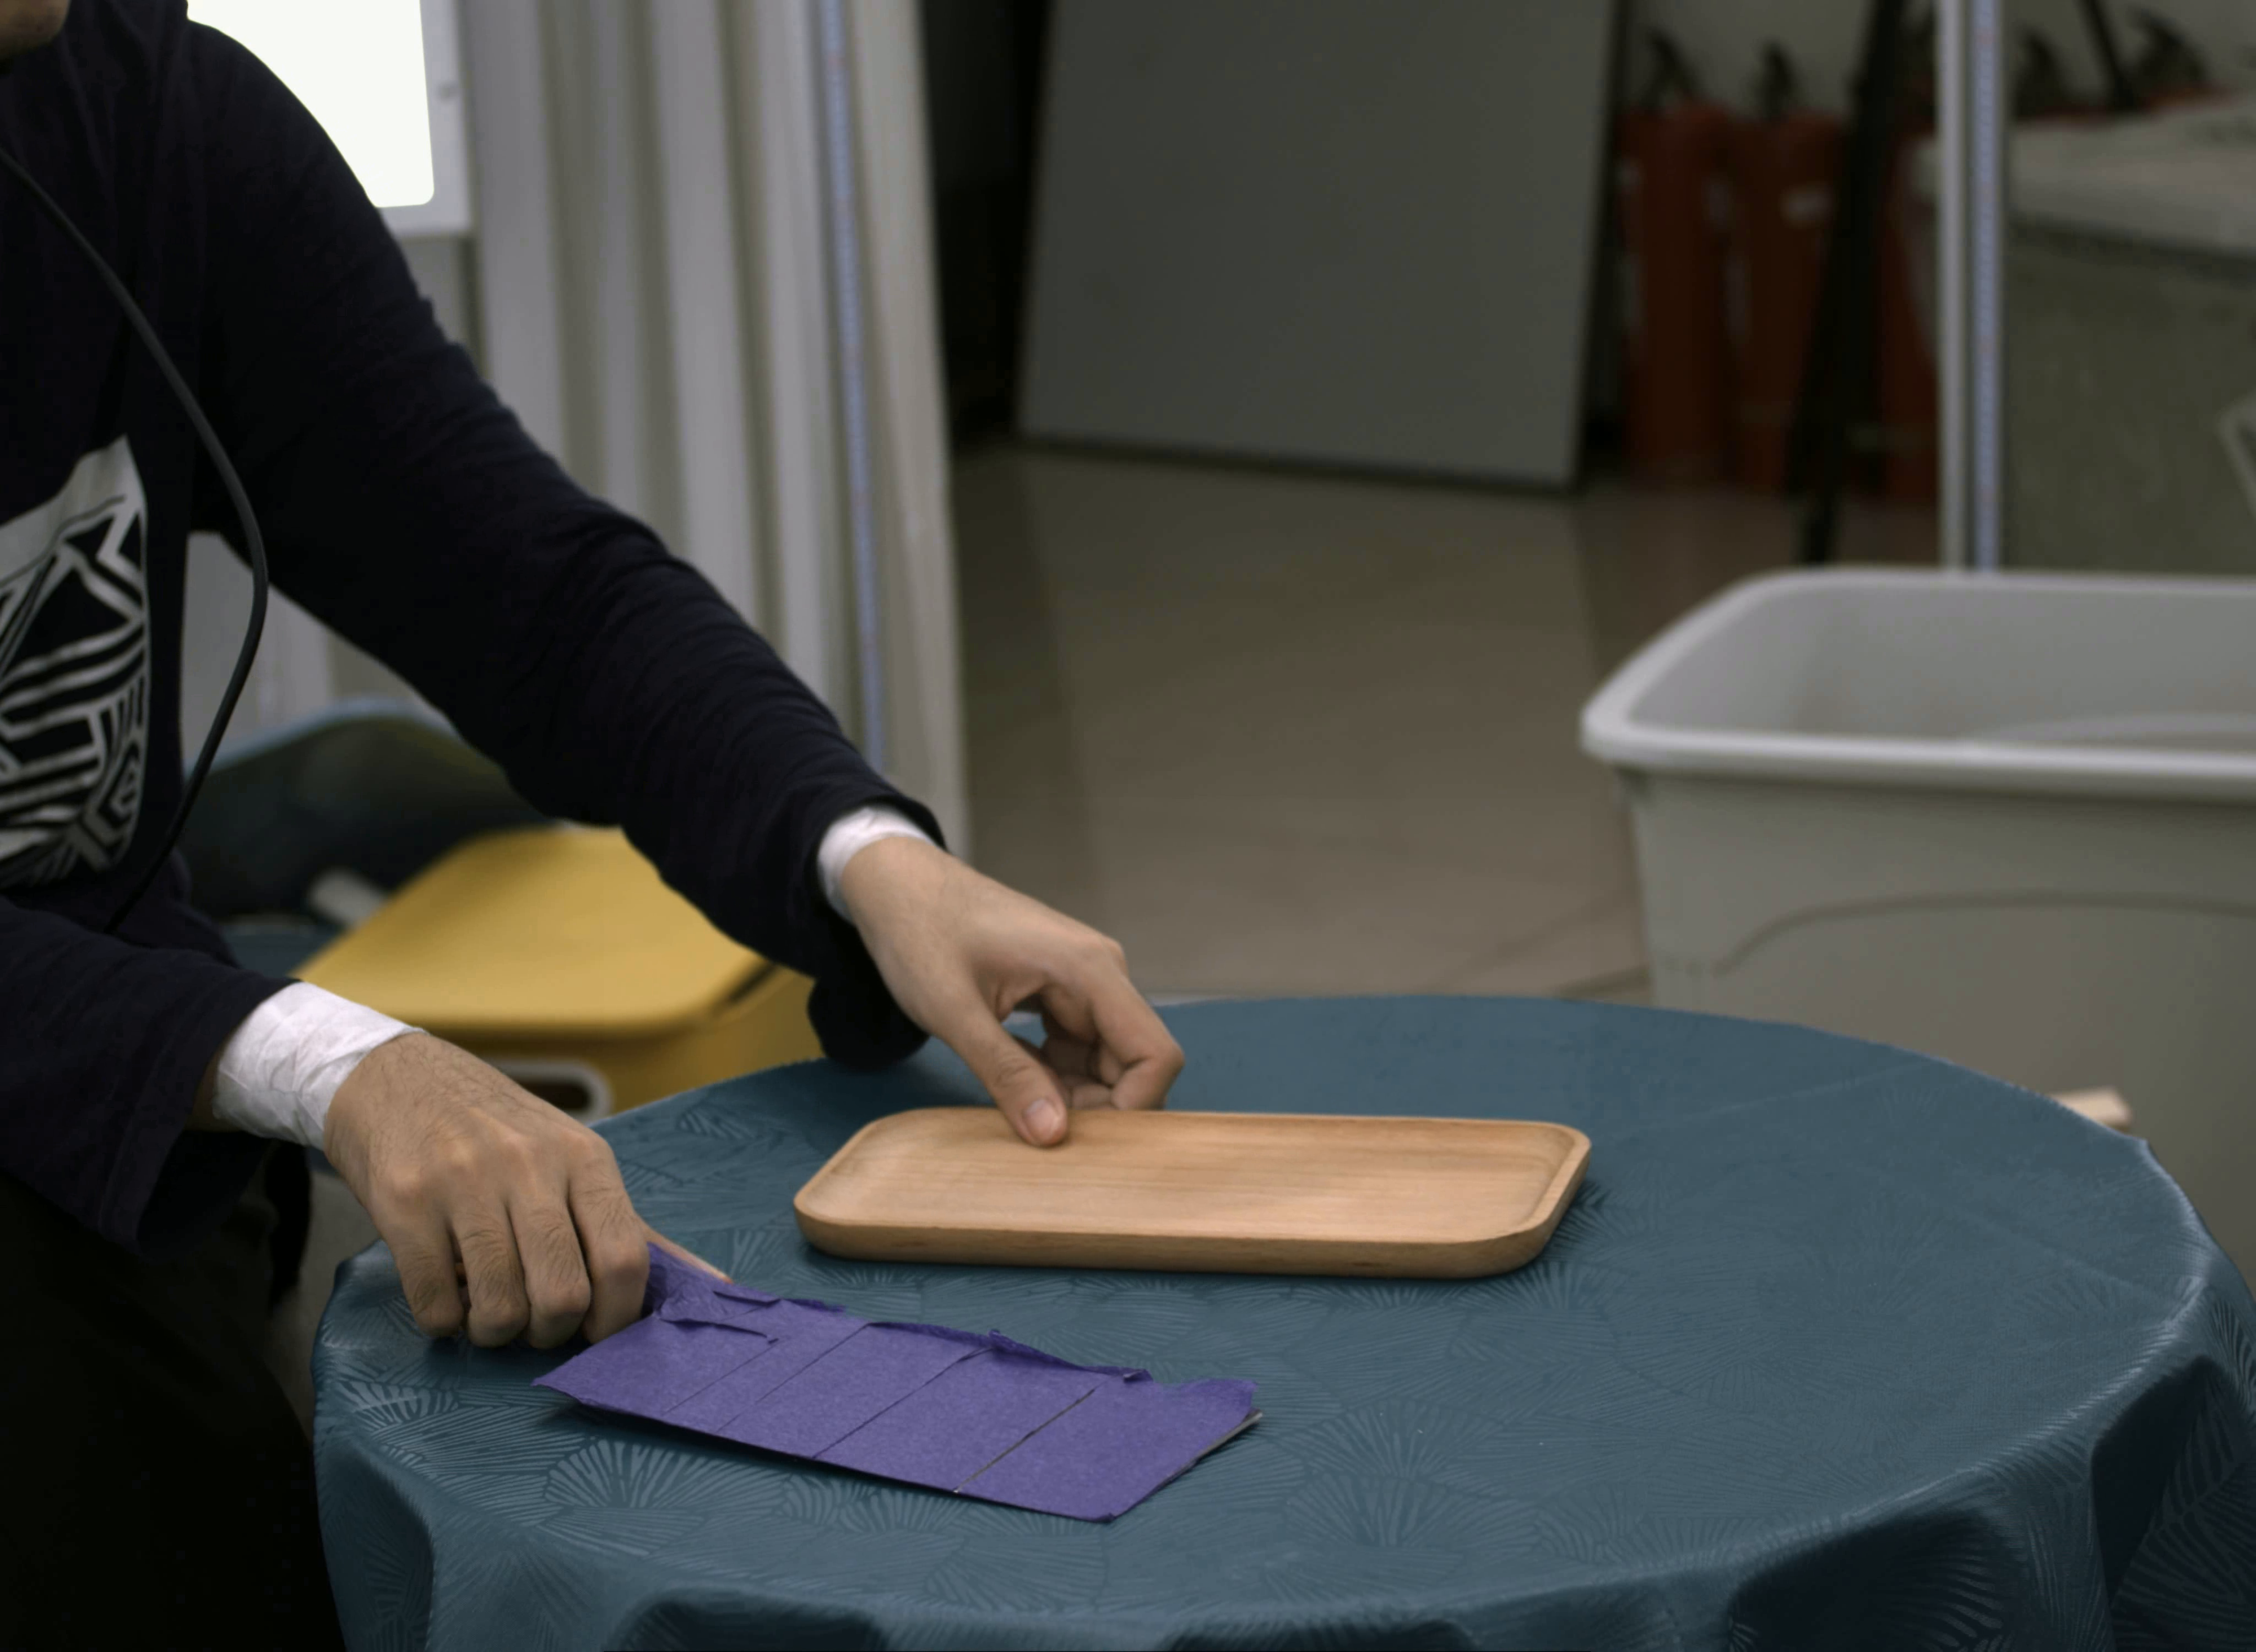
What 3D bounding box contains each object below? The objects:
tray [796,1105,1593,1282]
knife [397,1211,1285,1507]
[{"bbox_3d":[0.022,0.118,1.746,0.250,0.023,0.129,0,12,20],"label":"tray"},{"bbox_3d":[-0.109,0.157,1.602,0.317,0.032,0.102,6,17,34],"label":"knife"}]
